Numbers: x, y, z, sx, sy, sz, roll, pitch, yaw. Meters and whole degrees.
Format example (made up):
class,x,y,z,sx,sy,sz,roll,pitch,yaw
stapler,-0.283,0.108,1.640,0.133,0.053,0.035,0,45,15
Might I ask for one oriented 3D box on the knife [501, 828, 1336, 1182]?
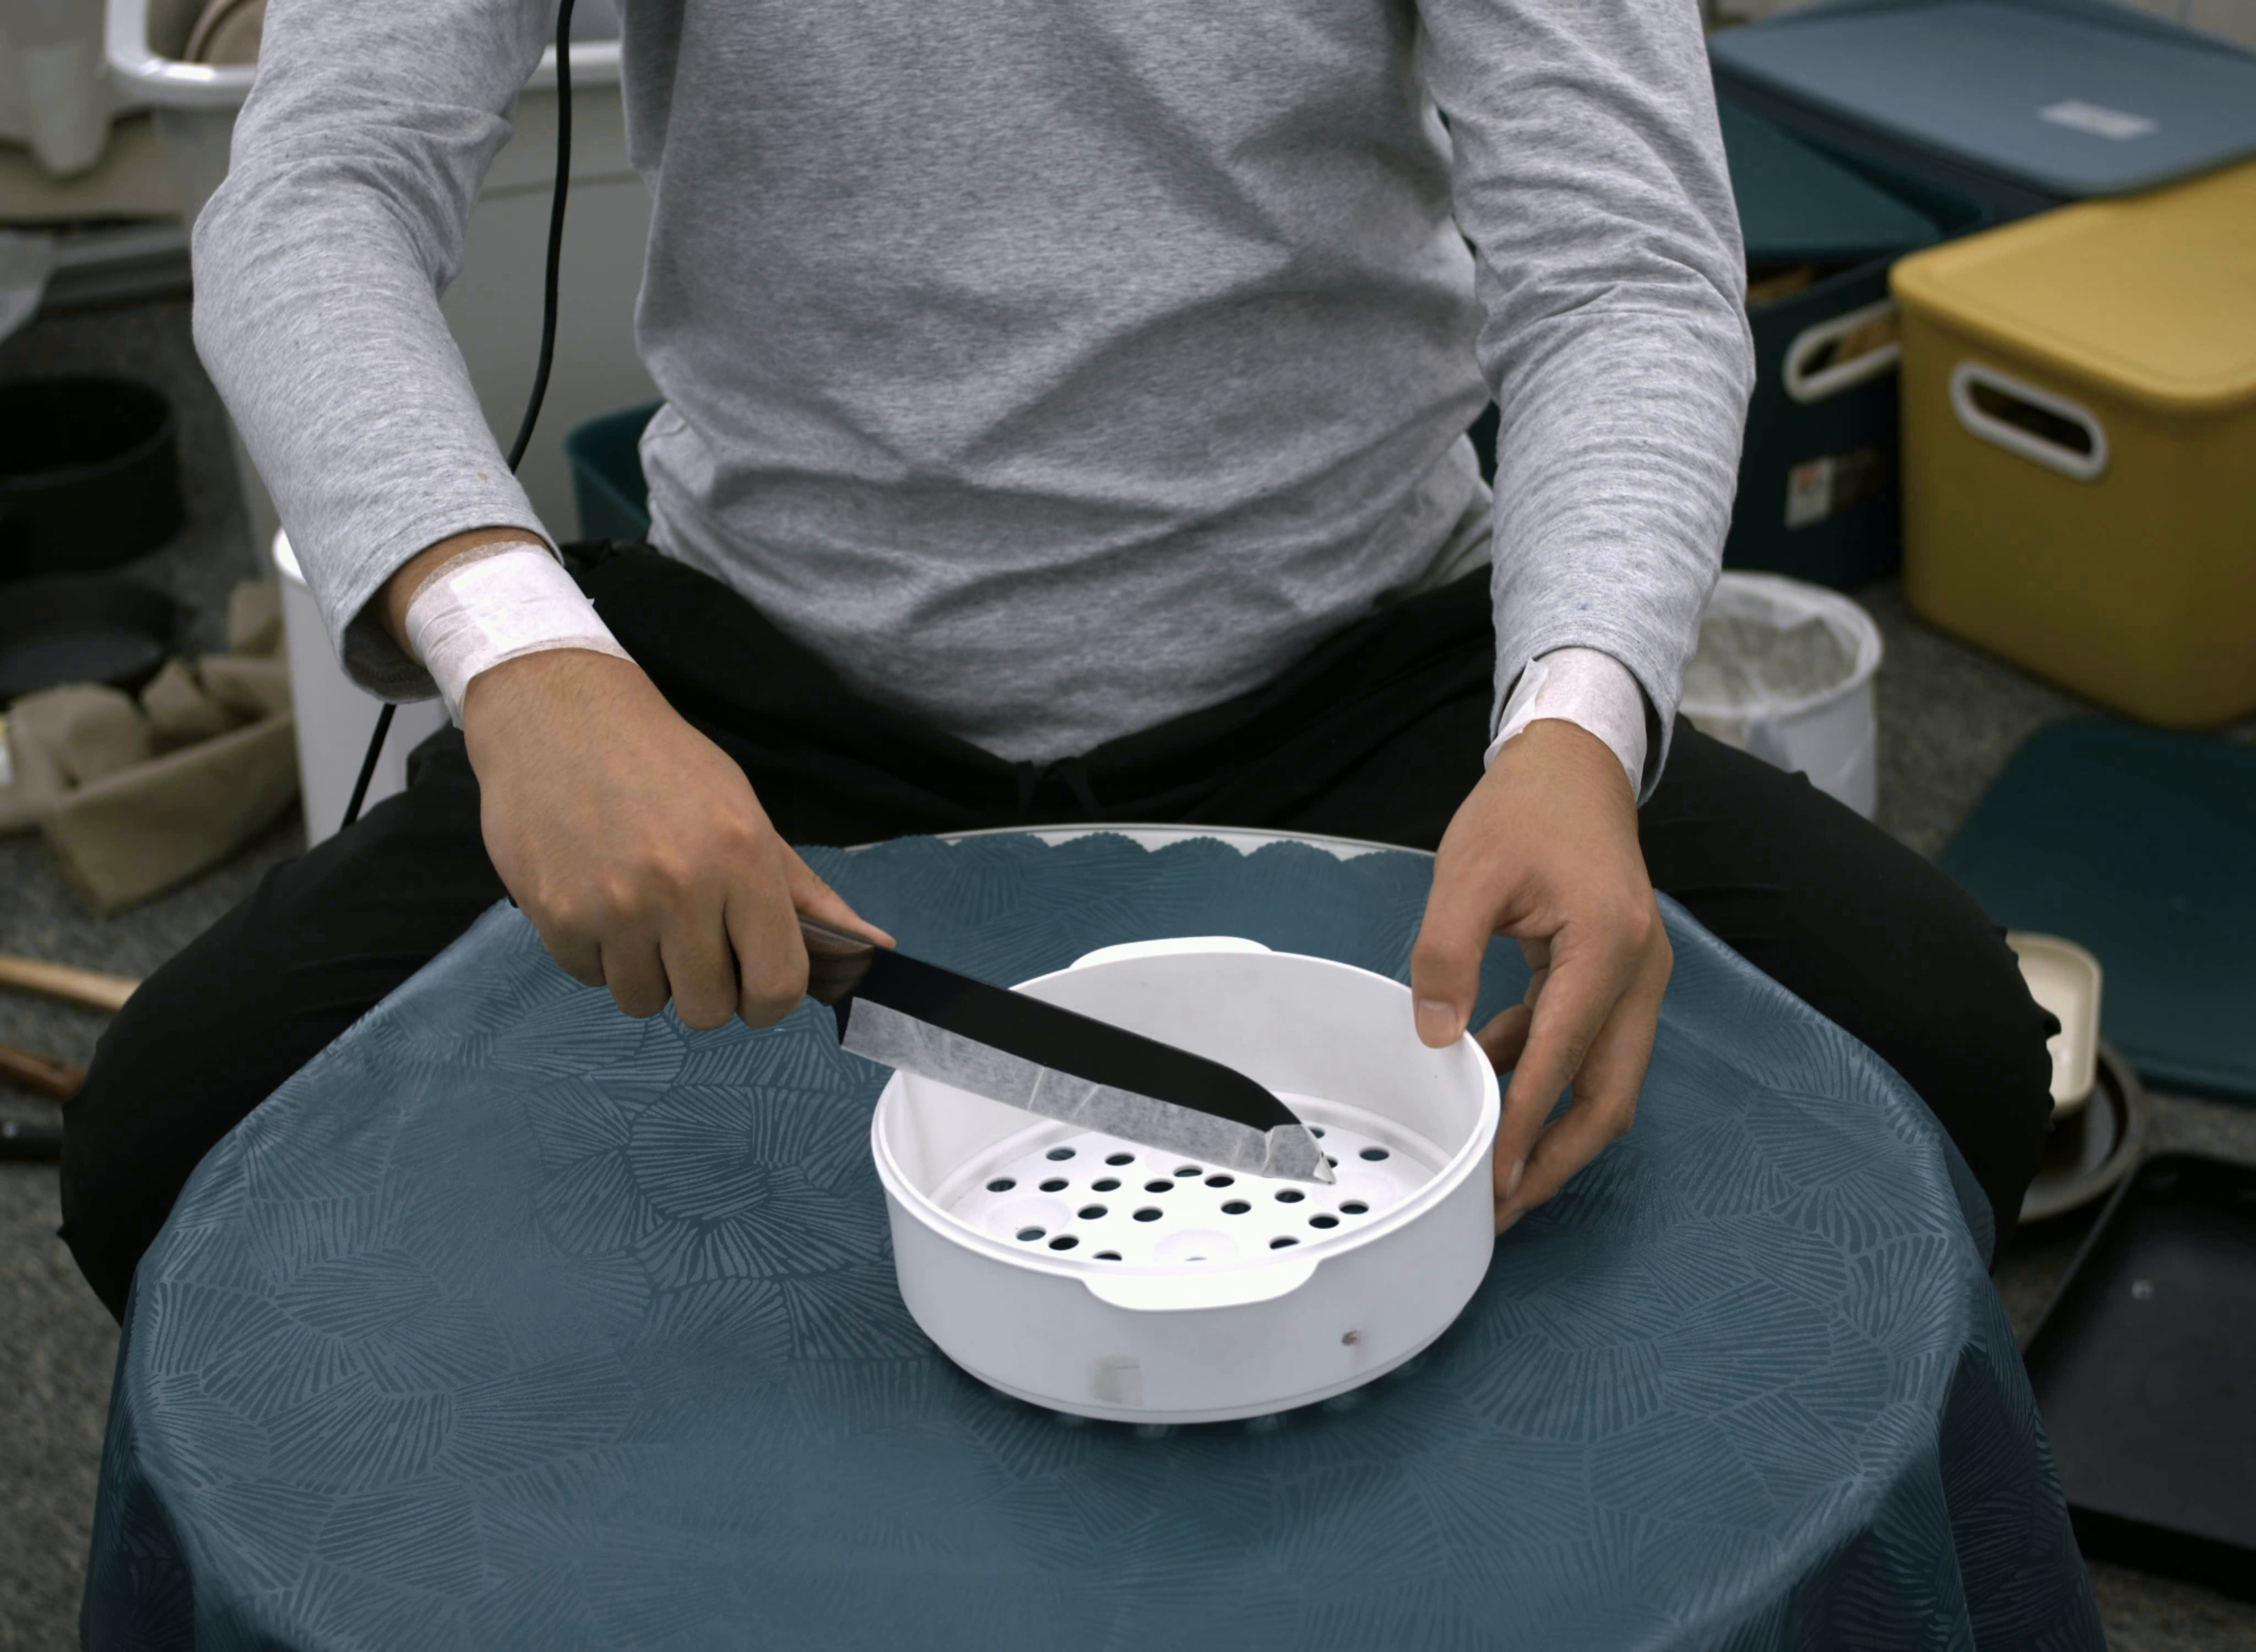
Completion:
class,x,y,z,sx,sy,sz,roll,pitch,yaw
knife,-0.067,0.059,1.797,0.288,0.049,0.020,21,33,5

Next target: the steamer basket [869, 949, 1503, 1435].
class,x,y,z,sx,sy,sz,roll,pitch,yaw
steamer basket,0.020,0.118,1.792,0.201,0.068,0.234,-4,26,-1
